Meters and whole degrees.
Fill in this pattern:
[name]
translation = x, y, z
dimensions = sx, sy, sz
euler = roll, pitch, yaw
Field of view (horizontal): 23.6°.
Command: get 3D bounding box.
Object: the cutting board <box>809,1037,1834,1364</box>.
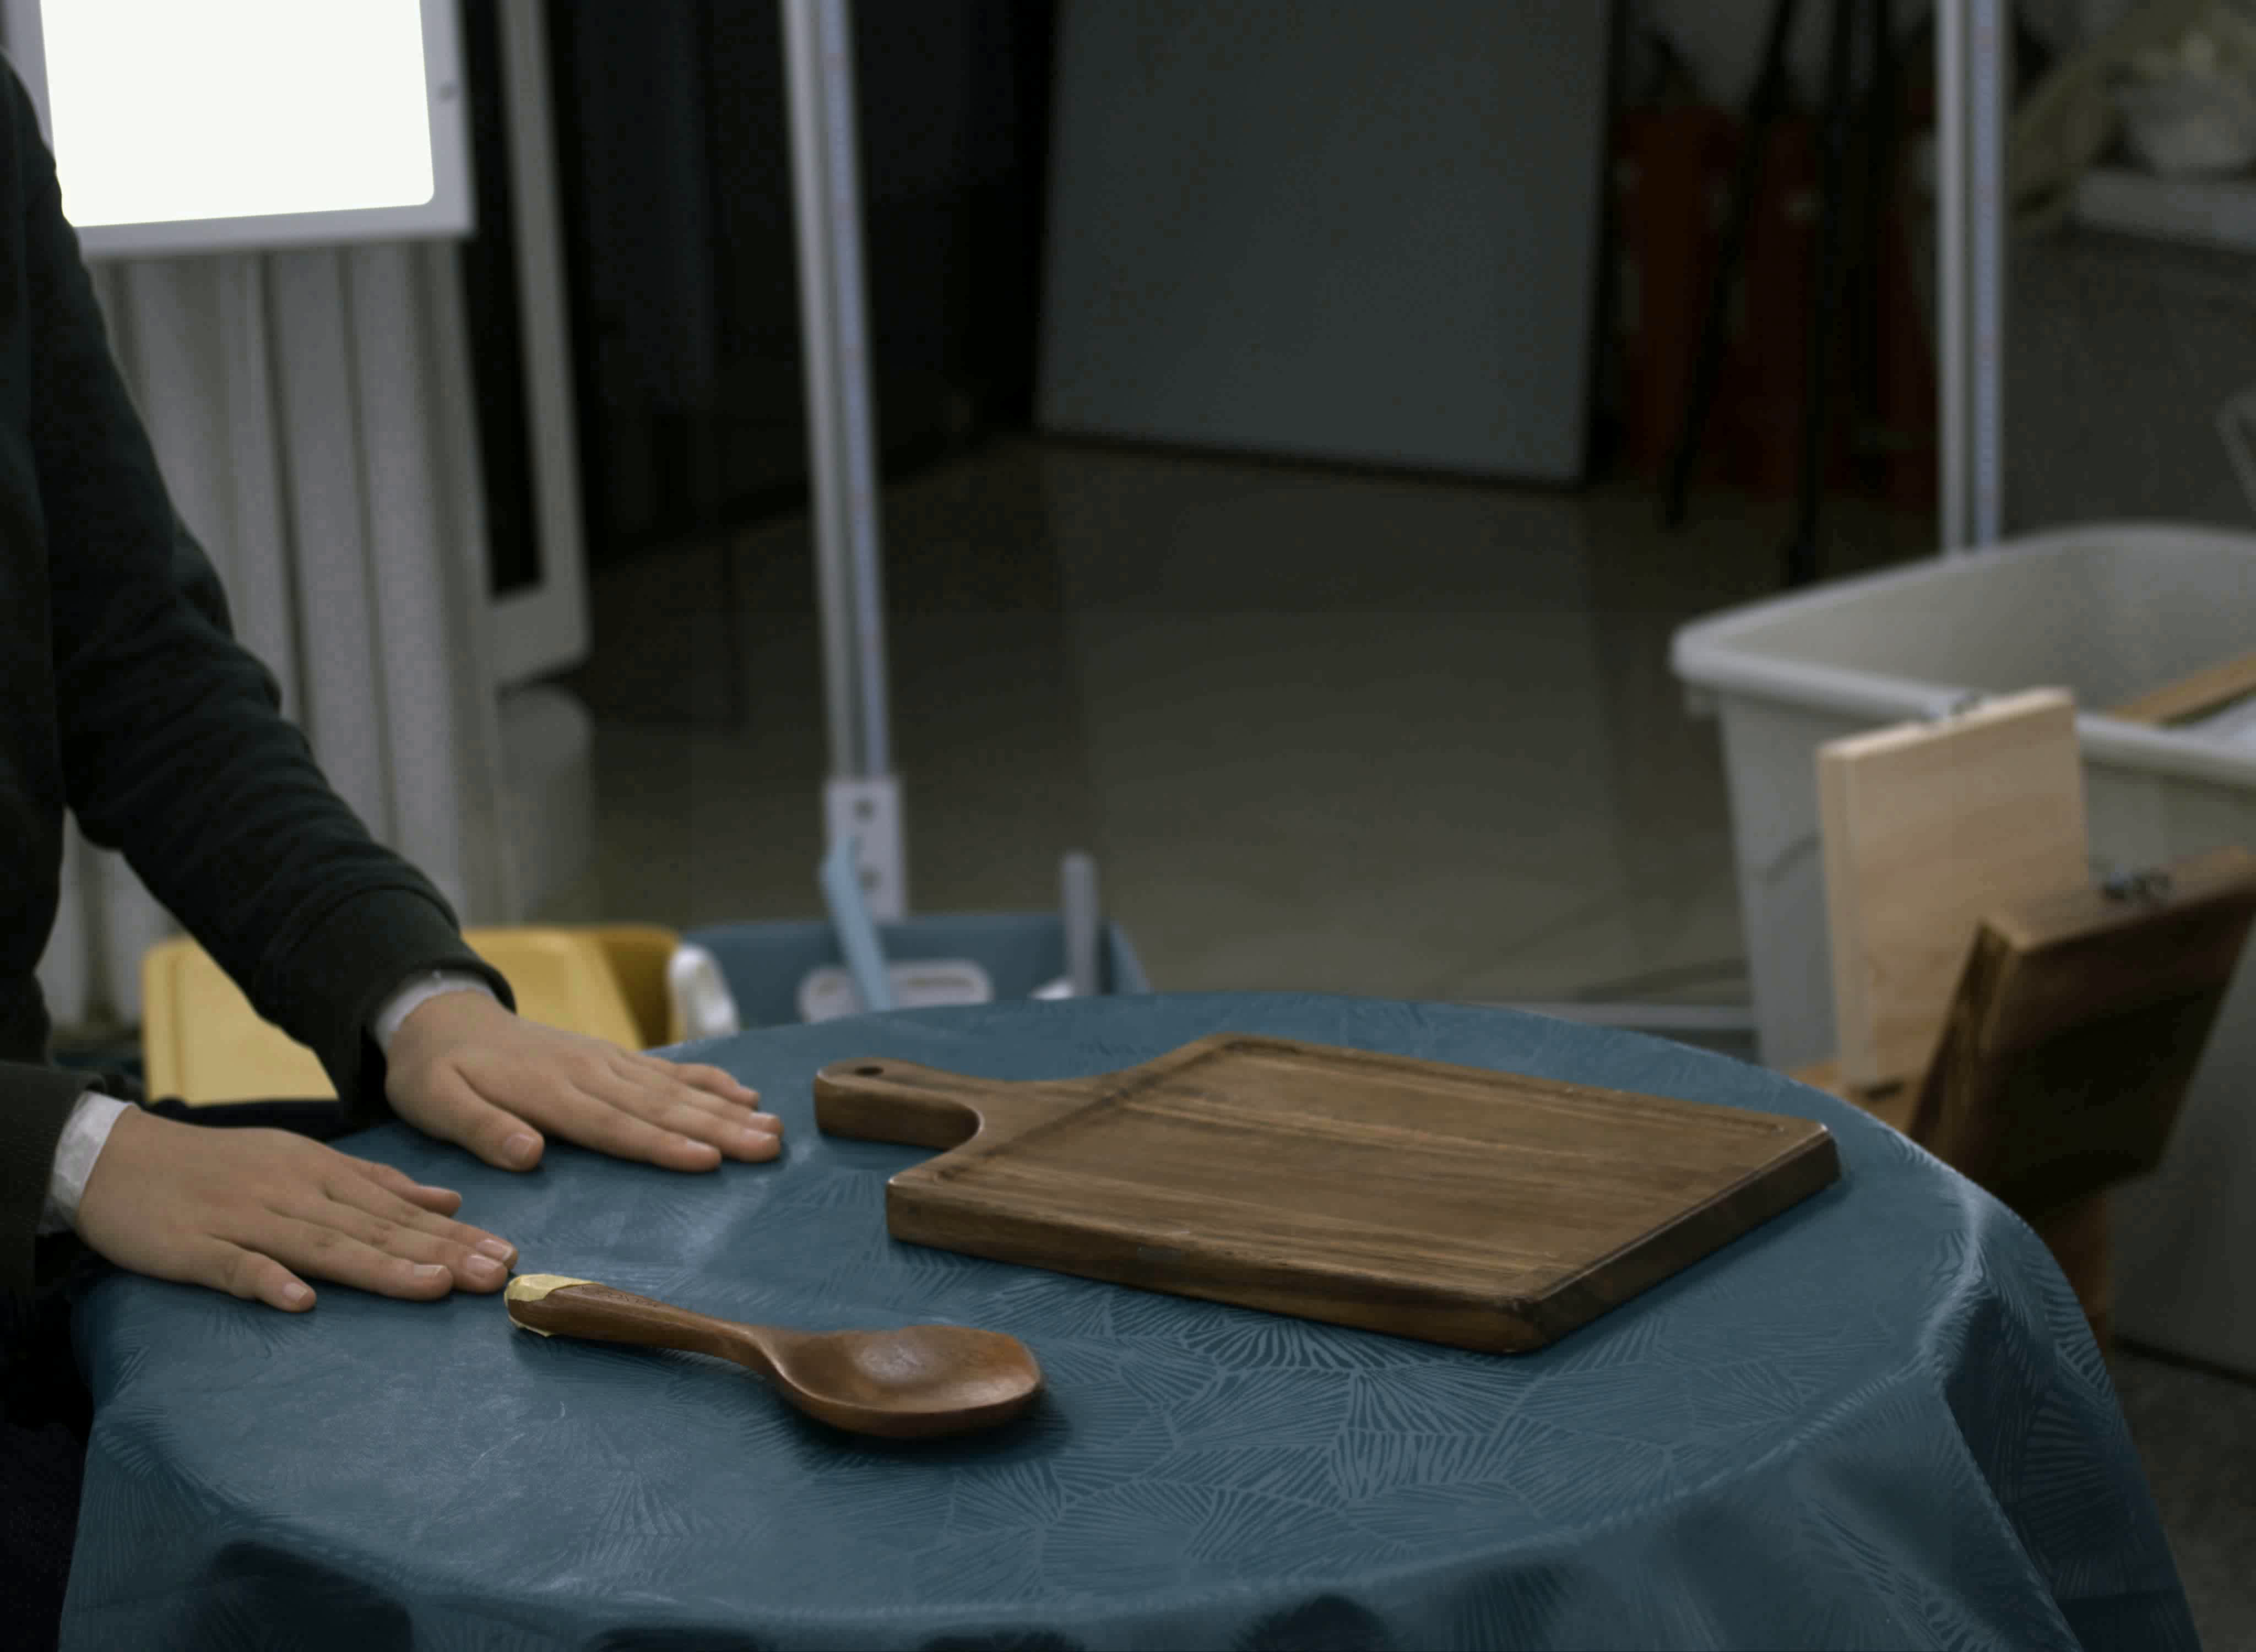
[cutting board]
translation = 0.036, 0.112, 1.764
dimensions = 0.354, 0.023, 0.197
euler = 6, 18, 37

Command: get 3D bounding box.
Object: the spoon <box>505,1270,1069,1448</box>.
[spoon]
translation = -0.107, 0.158, 1.616
dimensions = 0.217, 0.017, 0.074
euler = 9, 21, 40
